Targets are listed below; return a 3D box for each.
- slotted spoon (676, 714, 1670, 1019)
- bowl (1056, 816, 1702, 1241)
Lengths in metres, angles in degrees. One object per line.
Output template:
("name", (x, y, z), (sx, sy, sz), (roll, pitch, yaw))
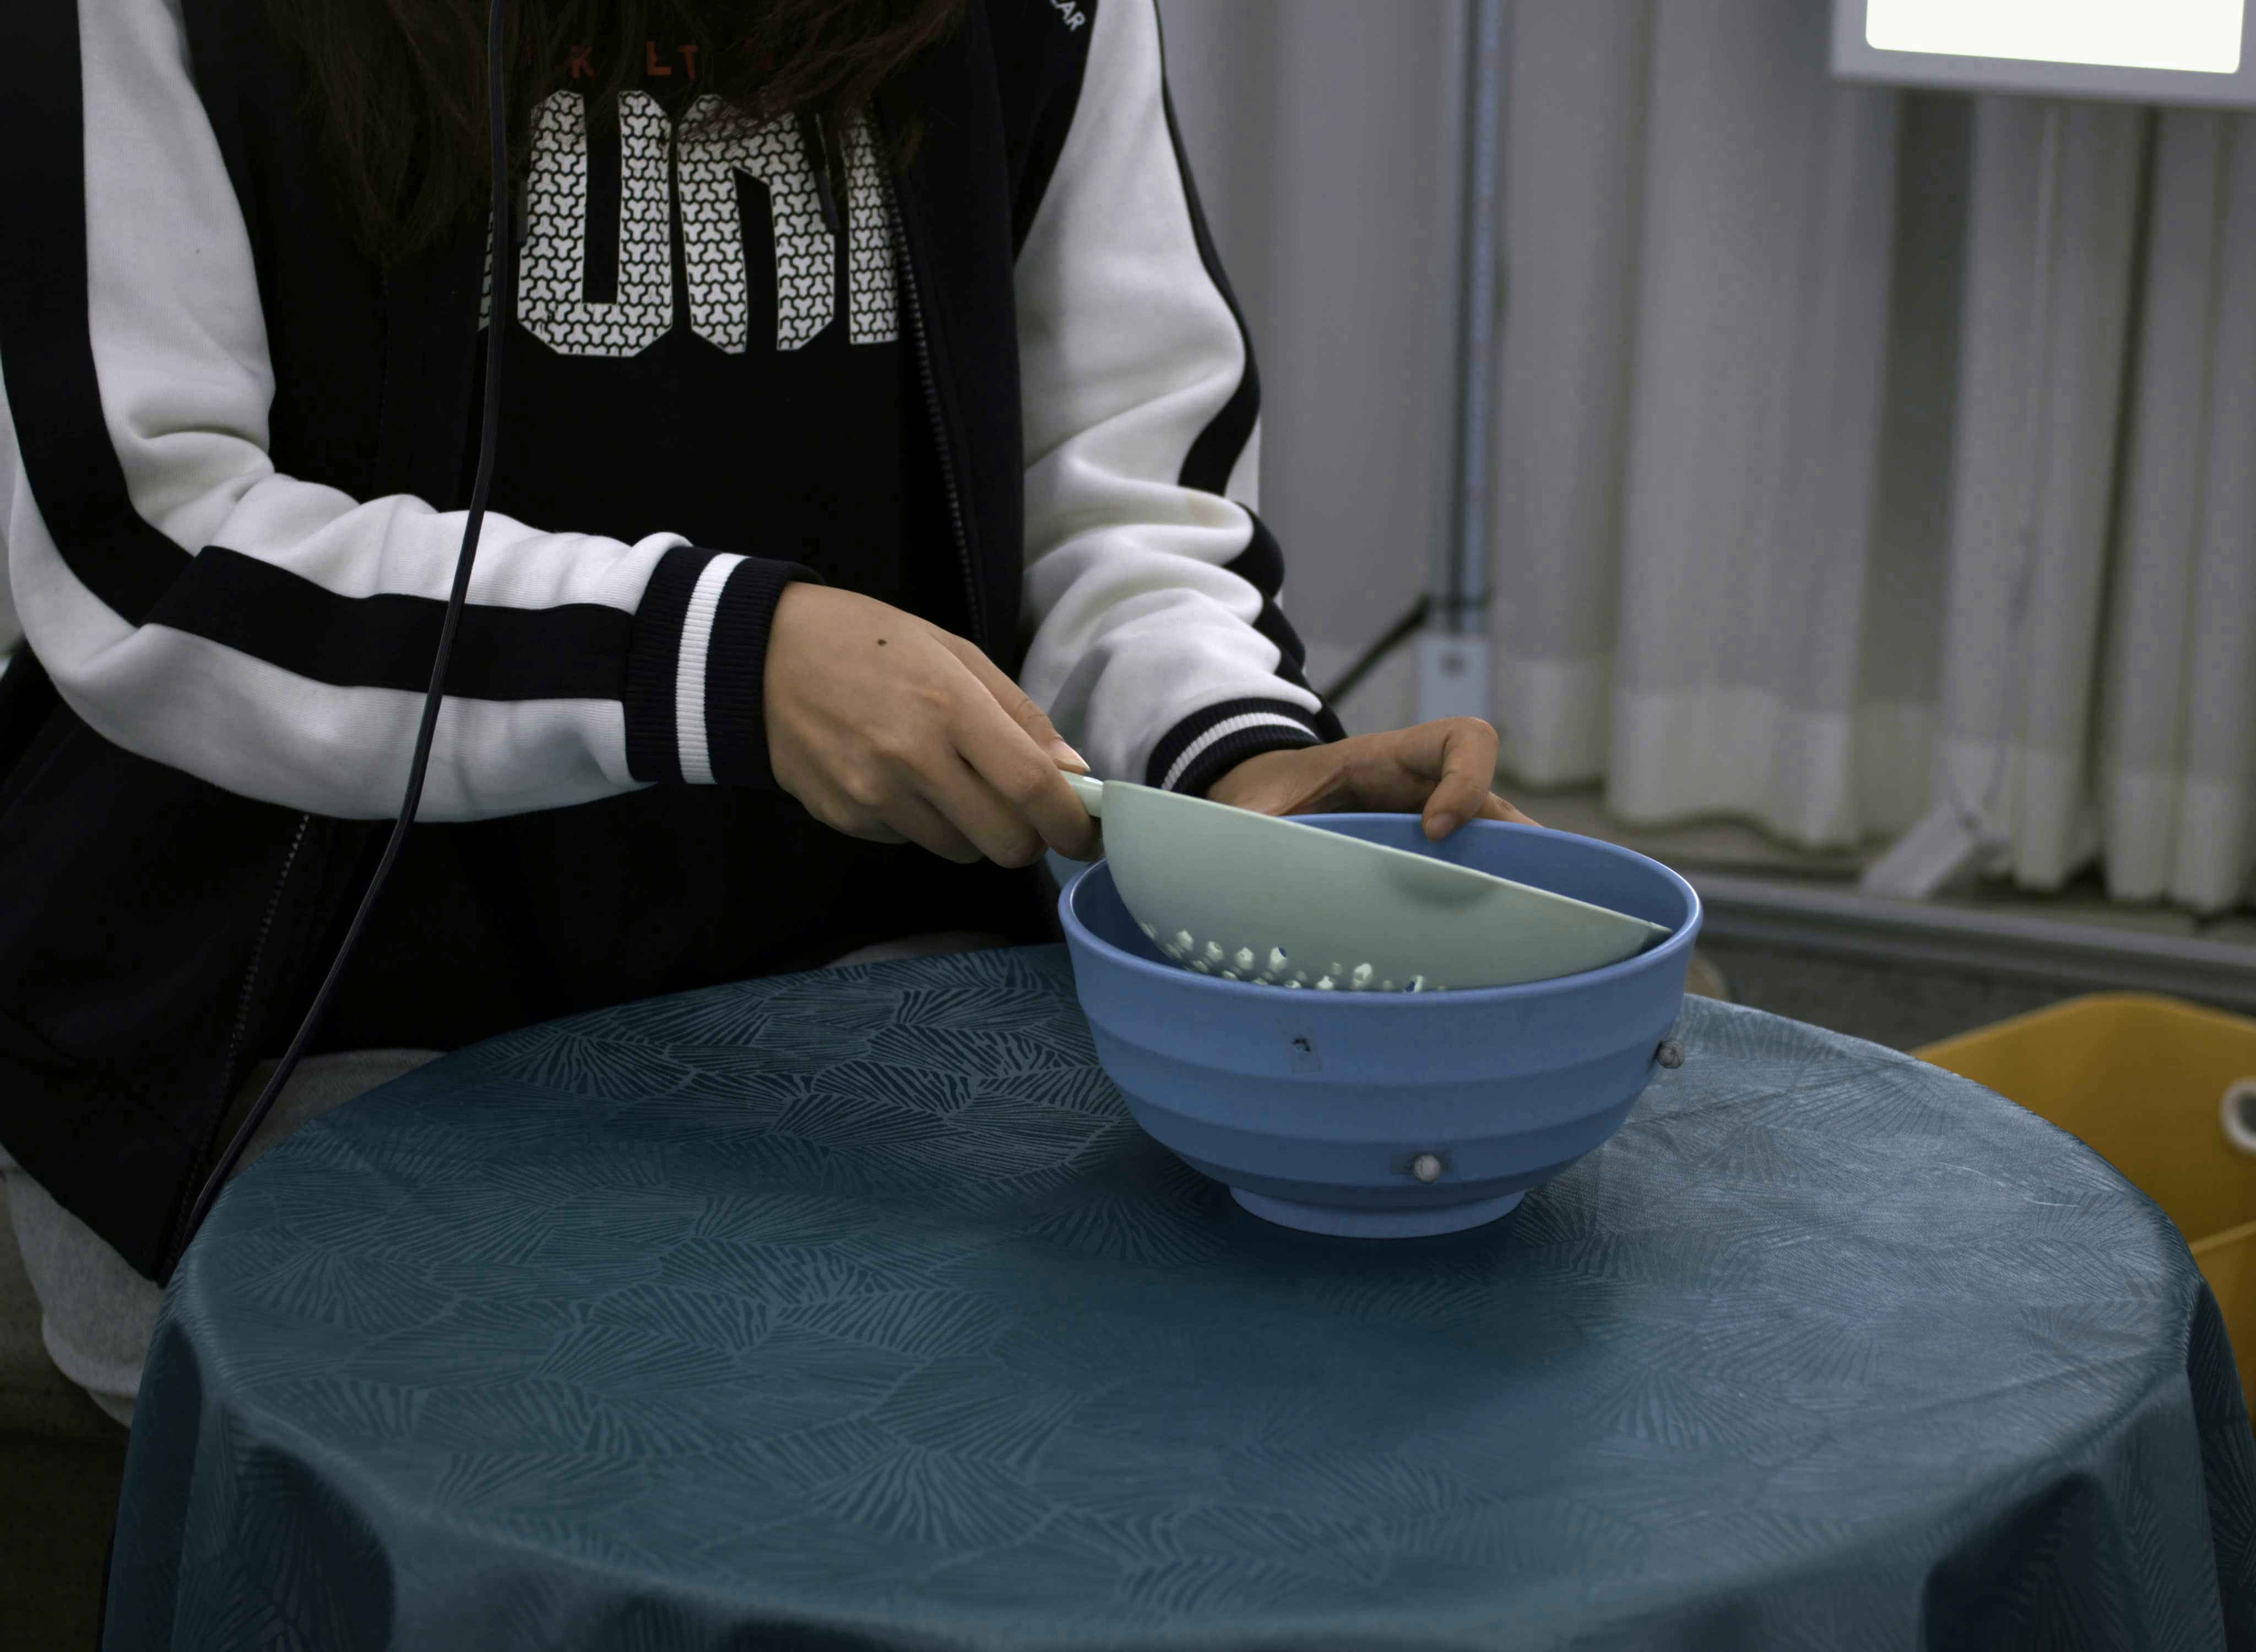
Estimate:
("slotted spoon", (-0.004, 0.003, 1.630), (0.354, 0.075, 0.171), (23, 4, 36))
("bowl", (0.077, 0.067, 1.610), (0.196, 0.096, 0.195), (0, 16, 1))
